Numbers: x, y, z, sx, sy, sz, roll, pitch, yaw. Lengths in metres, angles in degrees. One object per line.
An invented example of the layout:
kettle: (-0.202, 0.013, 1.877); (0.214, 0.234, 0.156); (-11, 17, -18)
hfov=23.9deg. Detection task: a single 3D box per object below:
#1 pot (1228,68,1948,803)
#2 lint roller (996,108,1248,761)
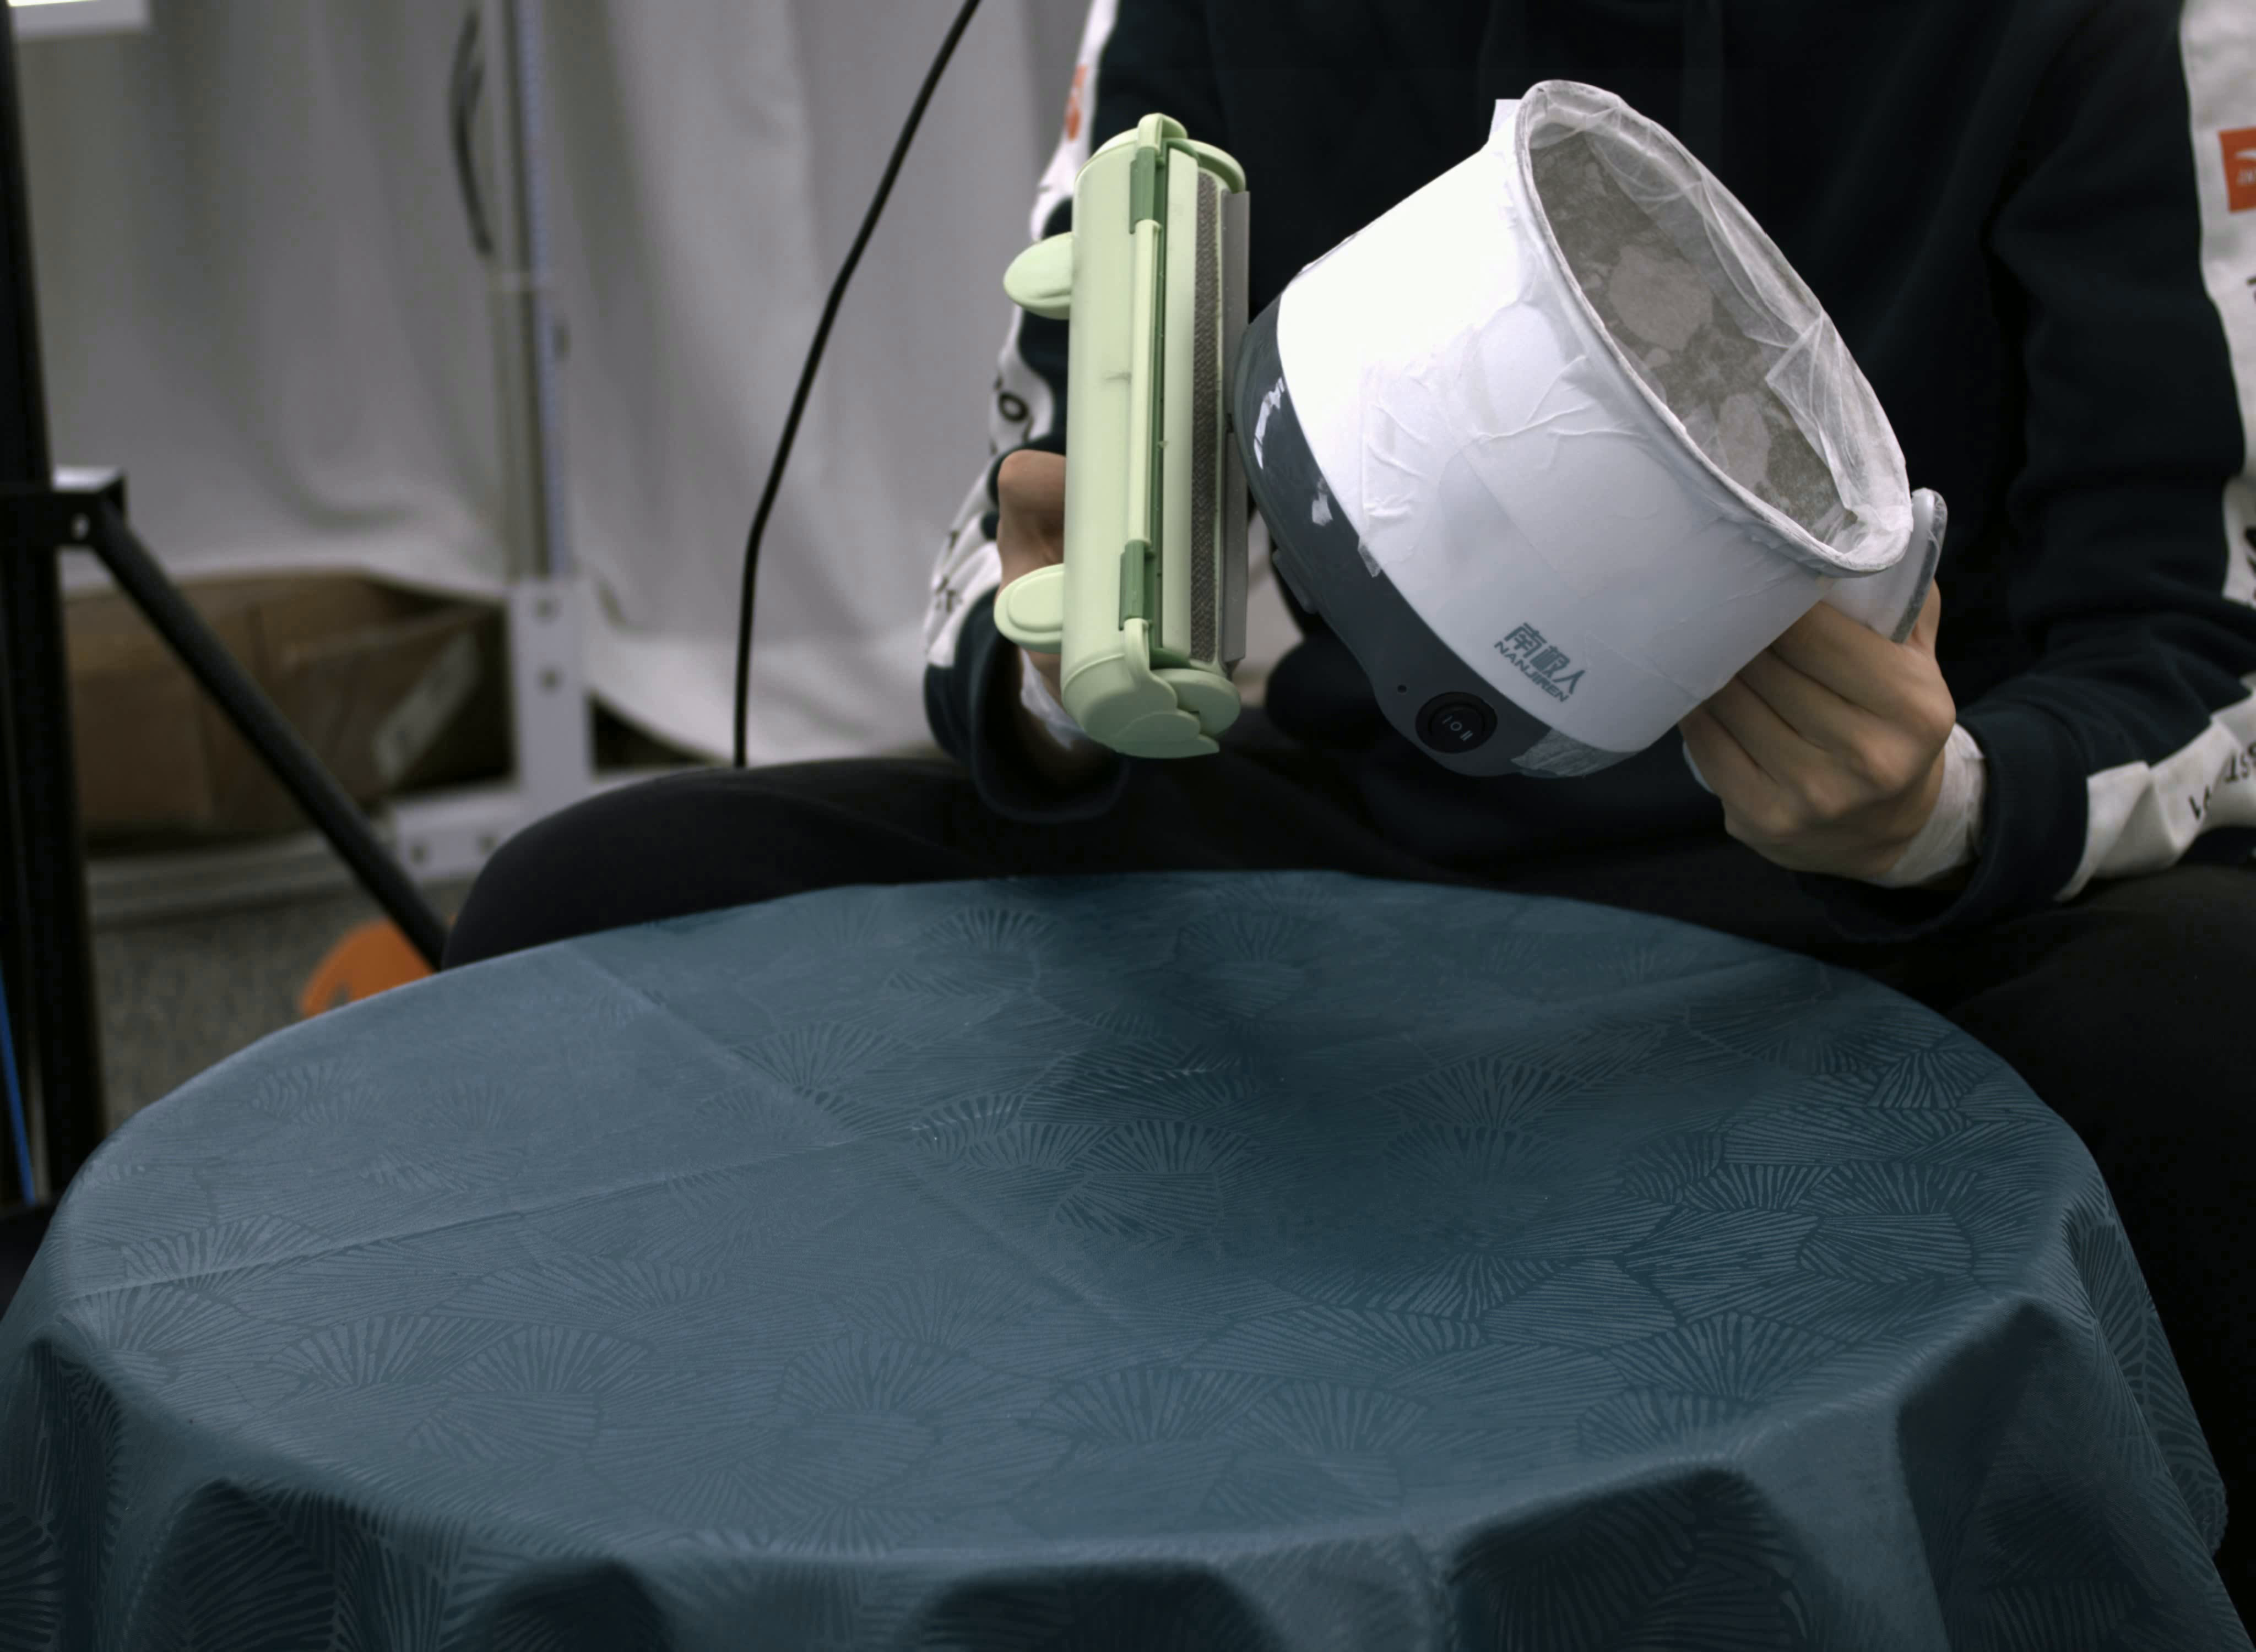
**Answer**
pot: (0.147, -0.100, 1.597); (0.138, 0.229, 0.180); (-38, 32, 28)
lint roller: (-0.007, -0.095, 1.663); (0.081, 0.200, 0.183); (5, -26, -8)
